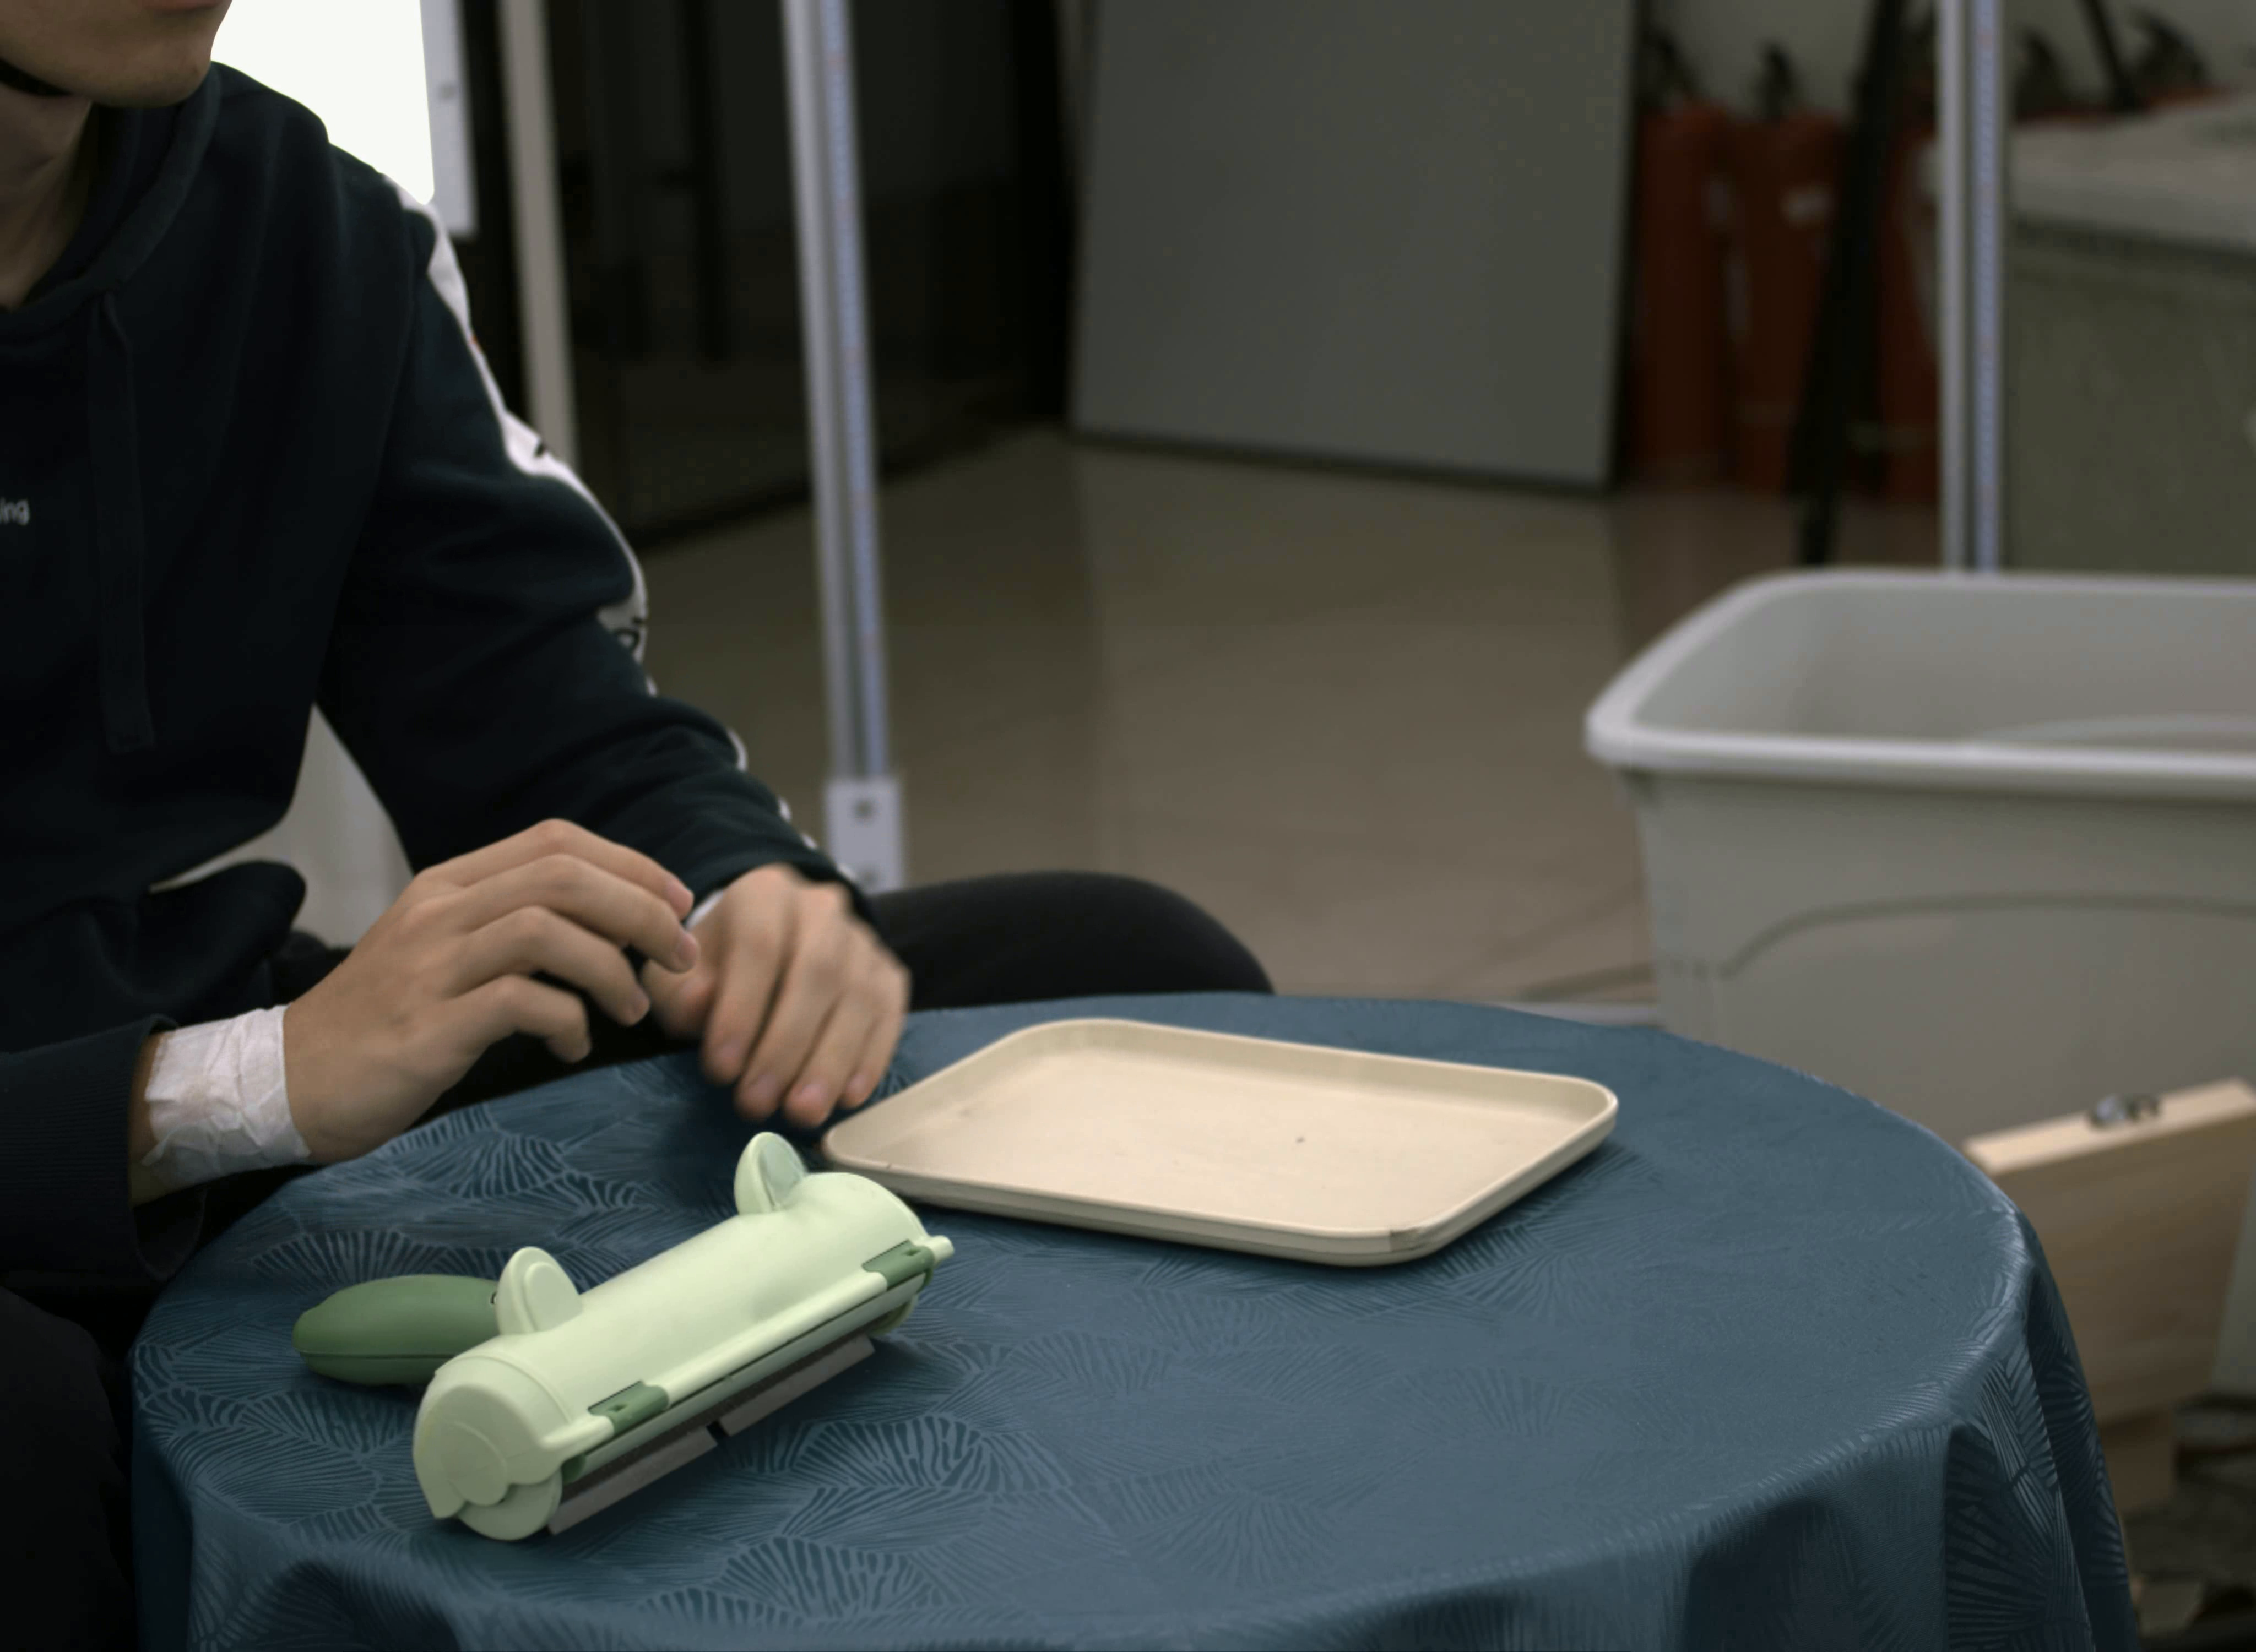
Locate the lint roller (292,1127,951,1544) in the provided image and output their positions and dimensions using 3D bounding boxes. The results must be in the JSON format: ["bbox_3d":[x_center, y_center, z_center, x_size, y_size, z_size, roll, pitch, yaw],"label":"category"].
[{"bbox_3d":[-0.176,0.137,1.598,0.184,0.083,0.195,10,19,32],"label":"lint roller"}]

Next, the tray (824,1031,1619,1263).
[{"bbox_3d":[0.031,0.106,1.787,0.241,0.017,0.168,5,16,33],"label":"tray"}]
